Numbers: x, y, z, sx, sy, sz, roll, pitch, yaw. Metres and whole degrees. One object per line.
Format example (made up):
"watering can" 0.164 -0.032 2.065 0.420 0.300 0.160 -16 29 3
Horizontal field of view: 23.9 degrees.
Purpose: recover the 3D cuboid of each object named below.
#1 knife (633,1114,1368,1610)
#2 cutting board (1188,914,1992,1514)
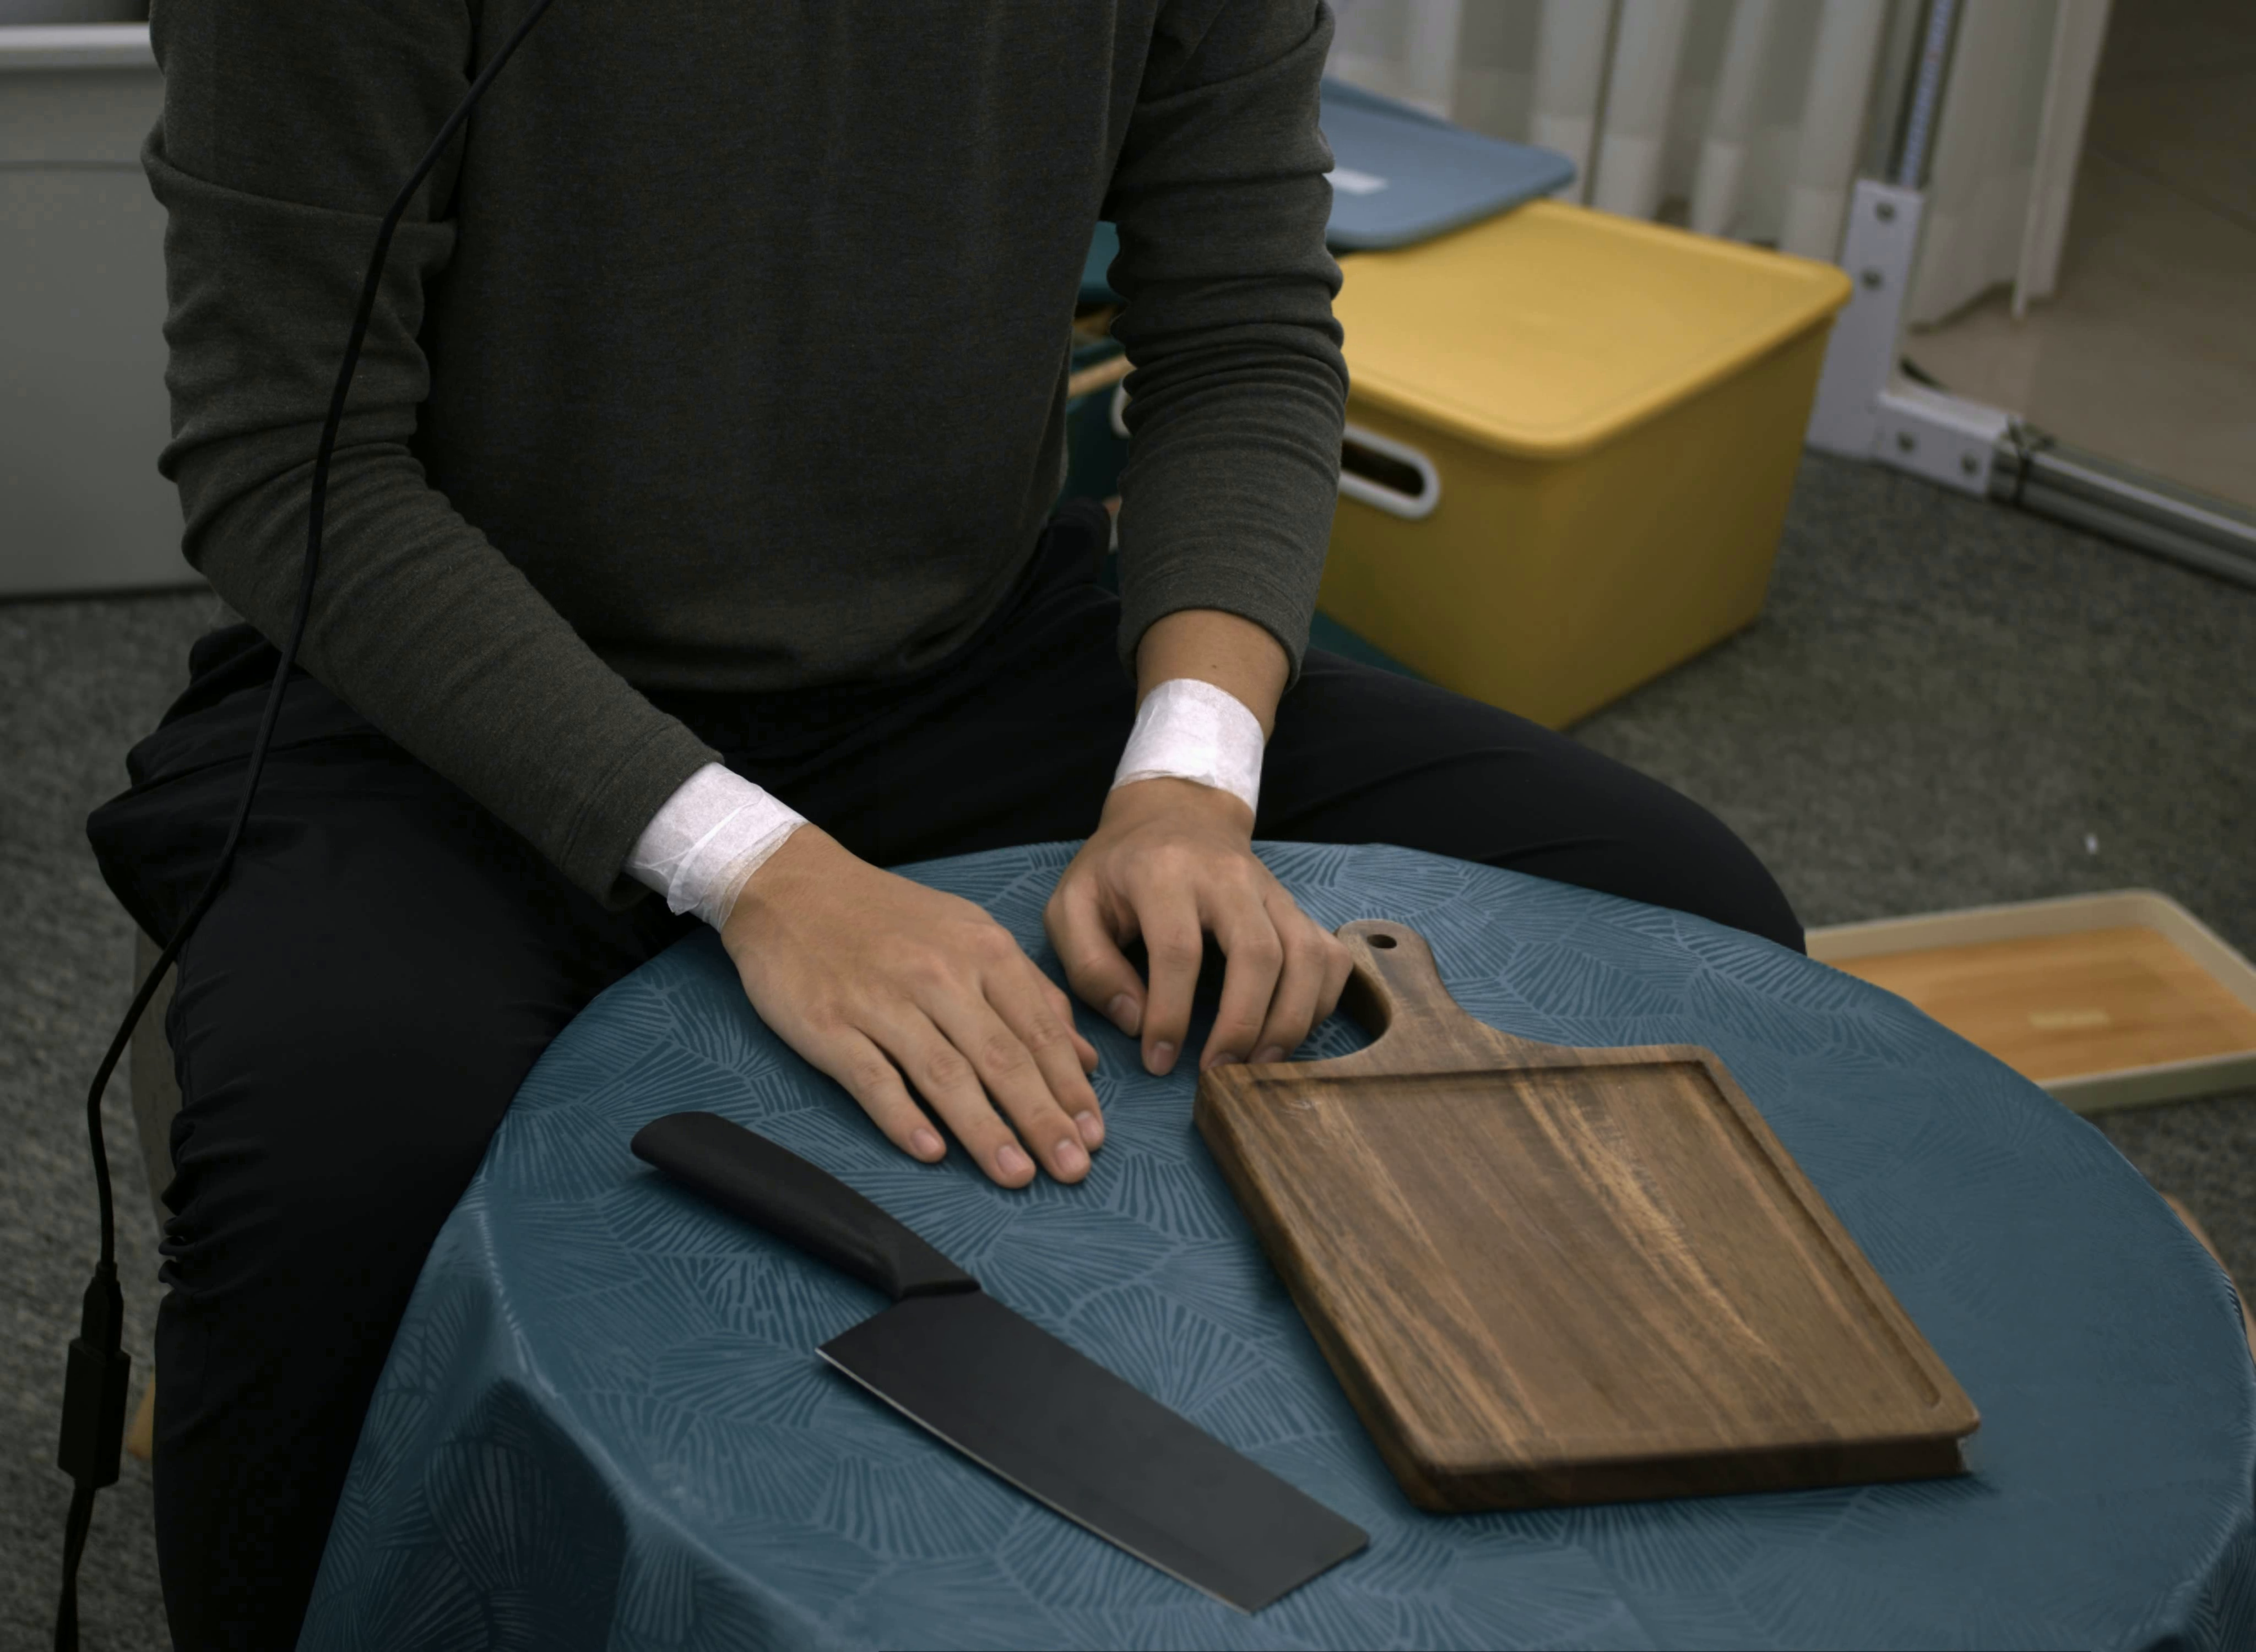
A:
"knife" -0.053 0.167 1.694 0.080 0.021 0.305 -20 38 -40
"cutting board" 0.135 0.122 1.816 0.200 0.023 0.355 -2 28 -17
